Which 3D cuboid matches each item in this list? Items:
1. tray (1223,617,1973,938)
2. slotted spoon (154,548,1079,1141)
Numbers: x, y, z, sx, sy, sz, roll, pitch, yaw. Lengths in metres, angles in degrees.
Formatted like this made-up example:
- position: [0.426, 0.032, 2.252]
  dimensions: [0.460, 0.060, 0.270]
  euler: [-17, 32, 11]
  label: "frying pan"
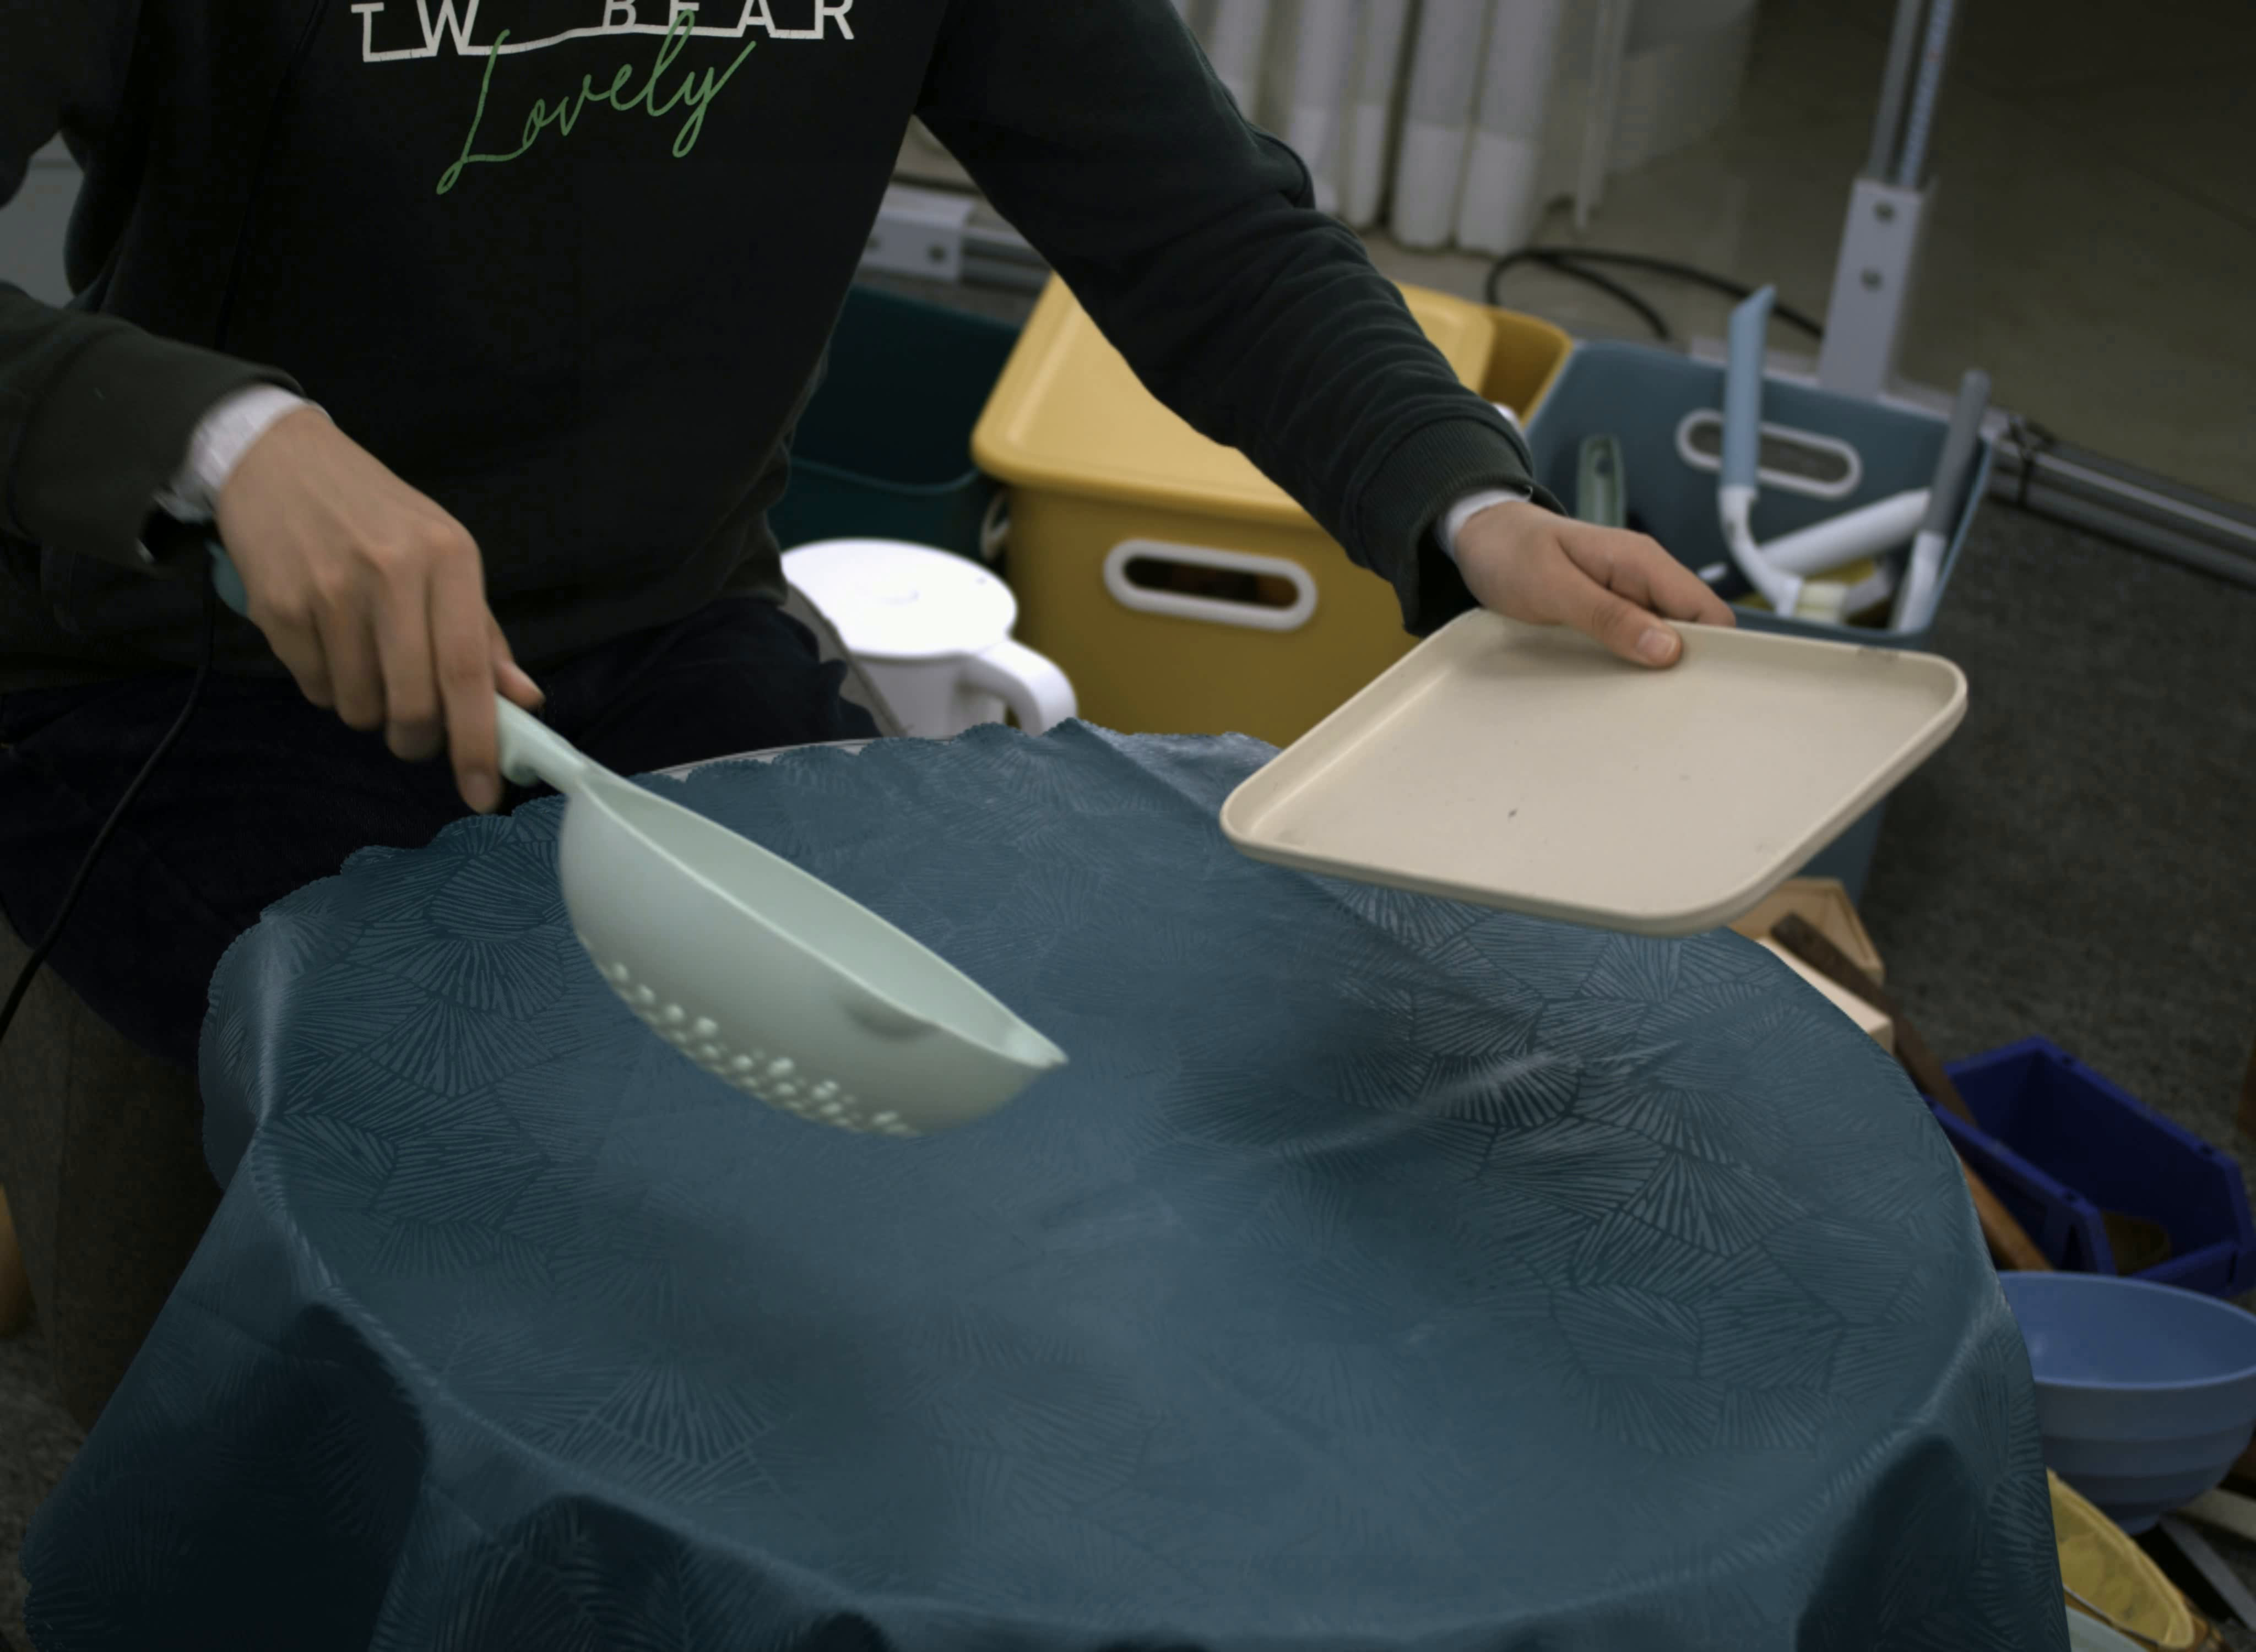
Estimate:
- position: [0.160, -0.018, 1.827]
  dimensions: [0.241, 0.017, 0.171]
  euler: [9, 37, 46]
  label: "tray"
- position: [-0.173, -0.008, 1.669]
  dimensions: [0.361, 0.075, 0.168]
  euler: [41, 6, 25]
  label: "slotted spoon"
